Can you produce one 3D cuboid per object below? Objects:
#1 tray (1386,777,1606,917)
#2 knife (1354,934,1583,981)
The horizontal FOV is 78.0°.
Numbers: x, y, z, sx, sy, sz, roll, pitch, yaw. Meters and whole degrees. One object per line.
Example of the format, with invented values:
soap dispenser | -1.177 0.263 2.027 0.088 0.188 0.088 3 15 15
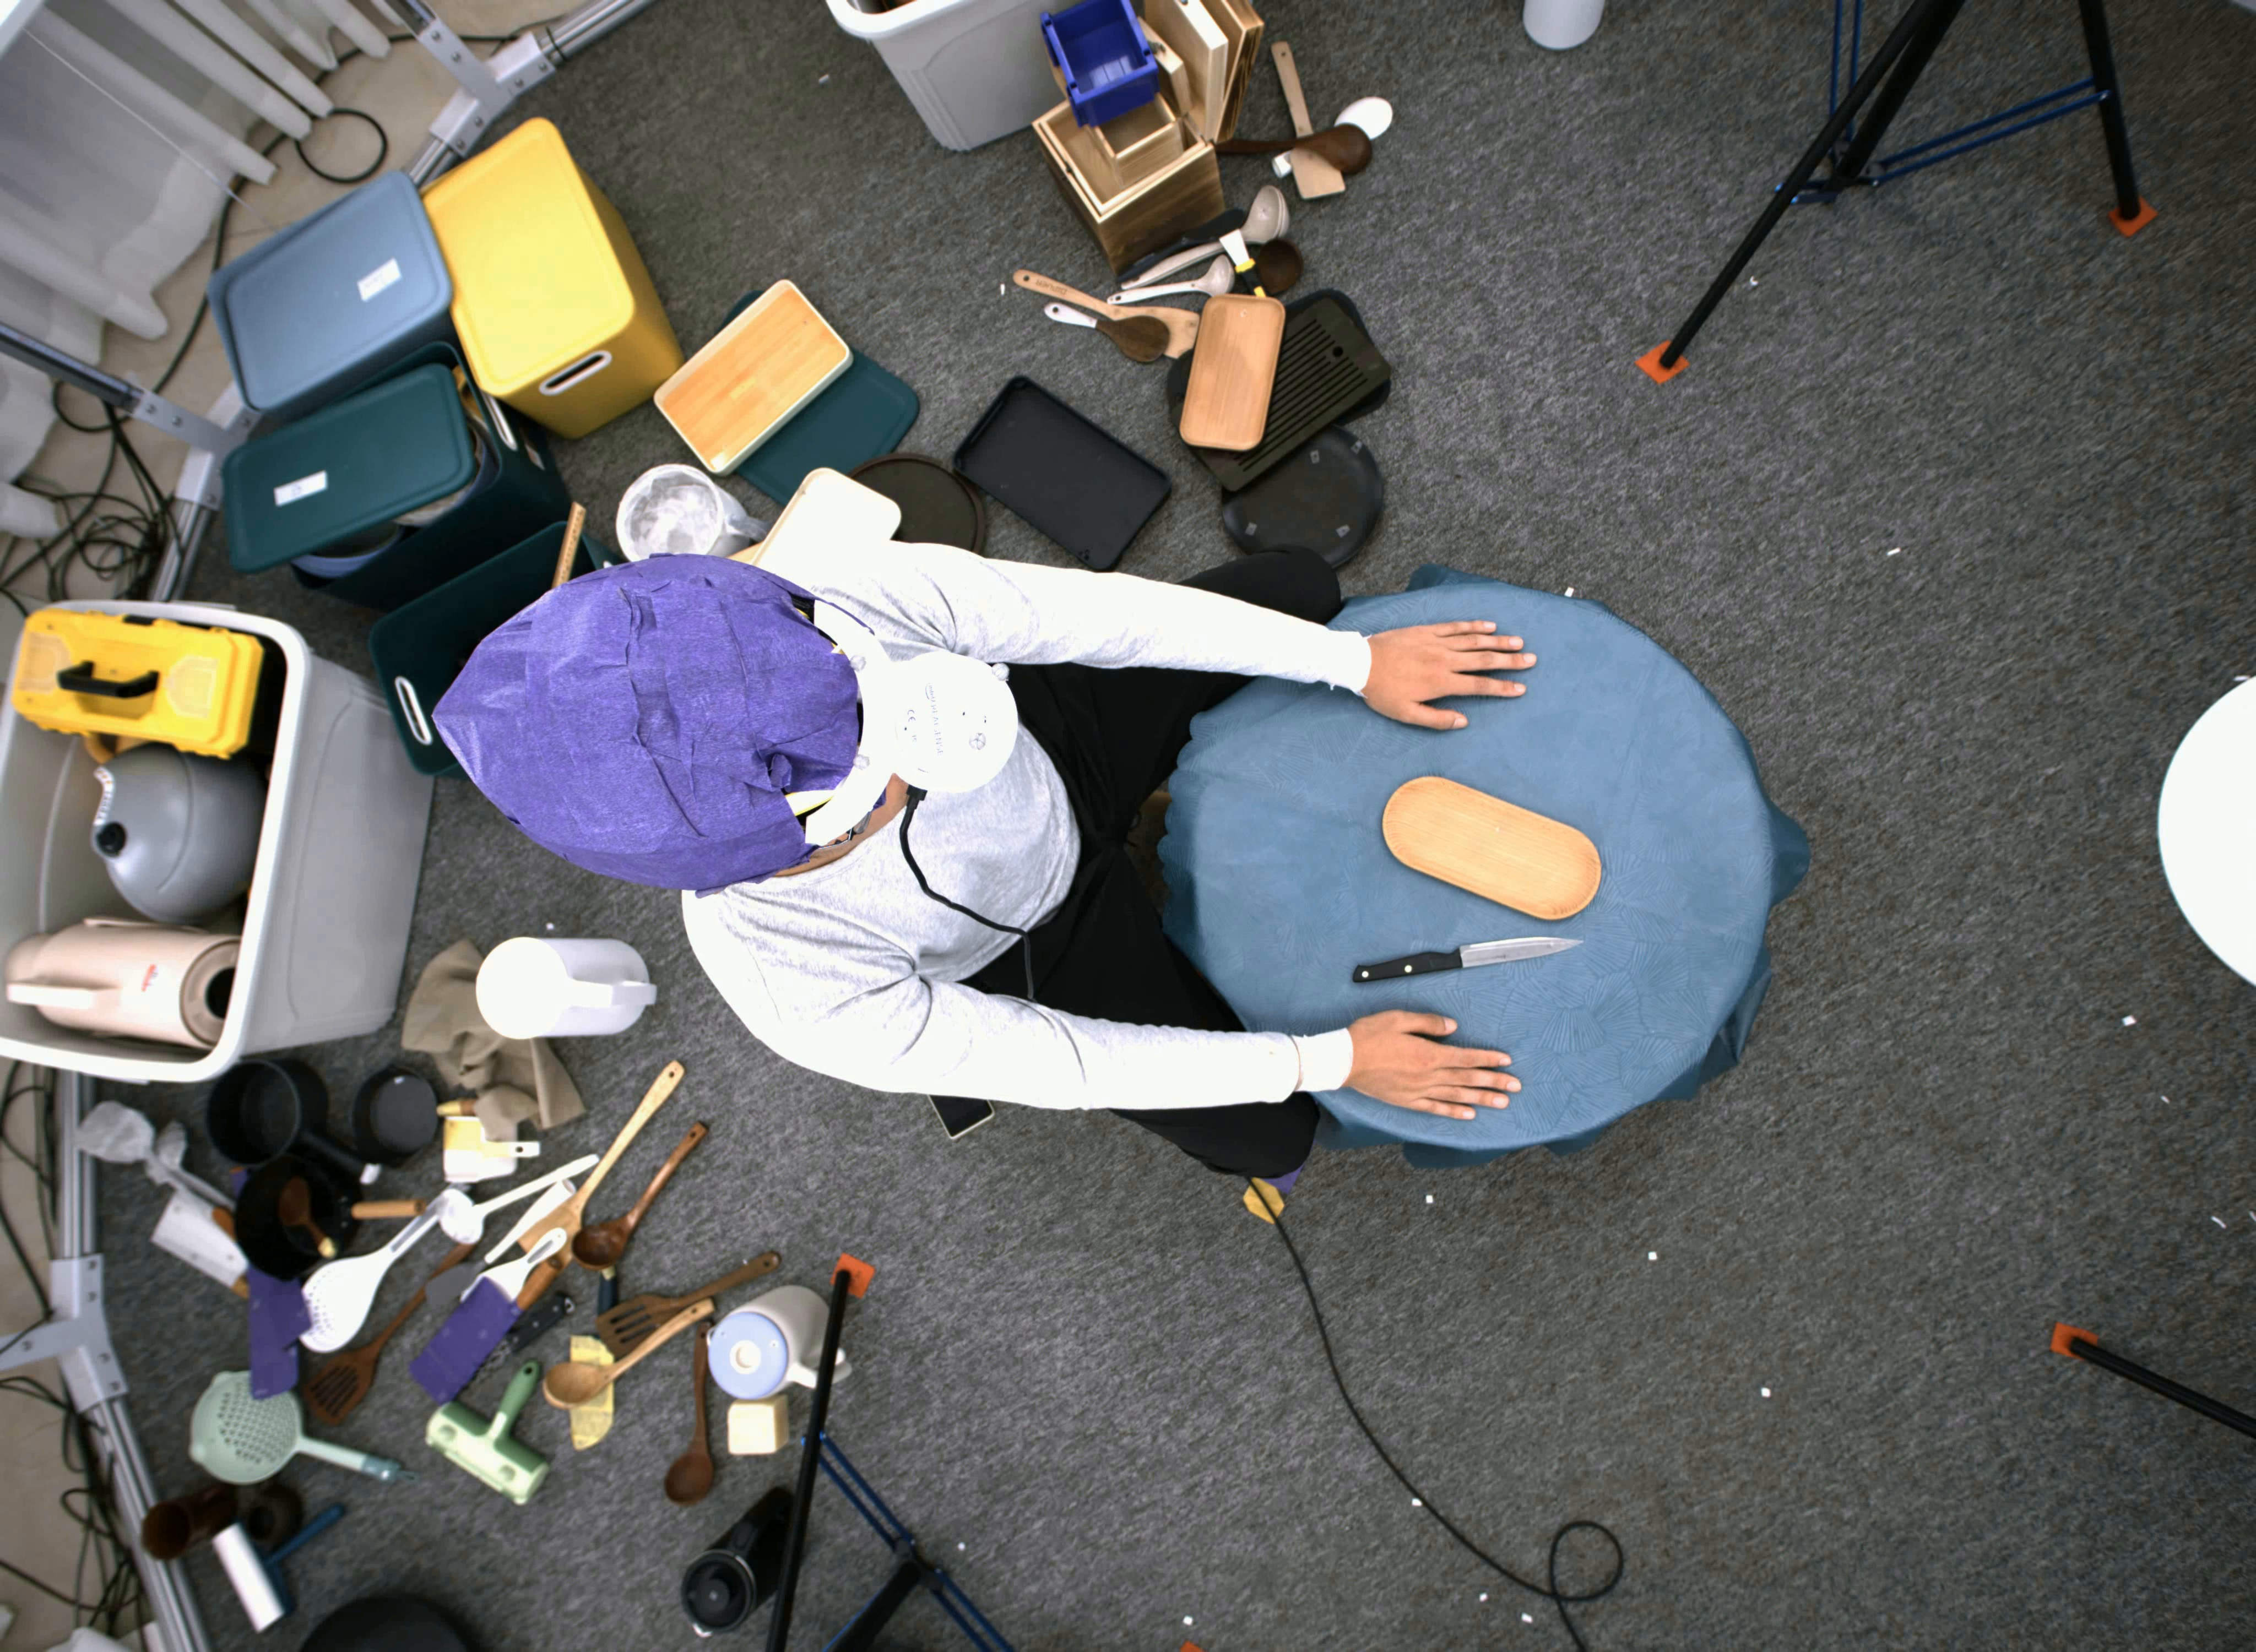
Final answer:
tray | 0.382 0.019 1.434 0.231 0.020 0.102 20 92 10
knife | 0.355 0.135 1.435 0.239 0.016 0.024 -10 83 7
